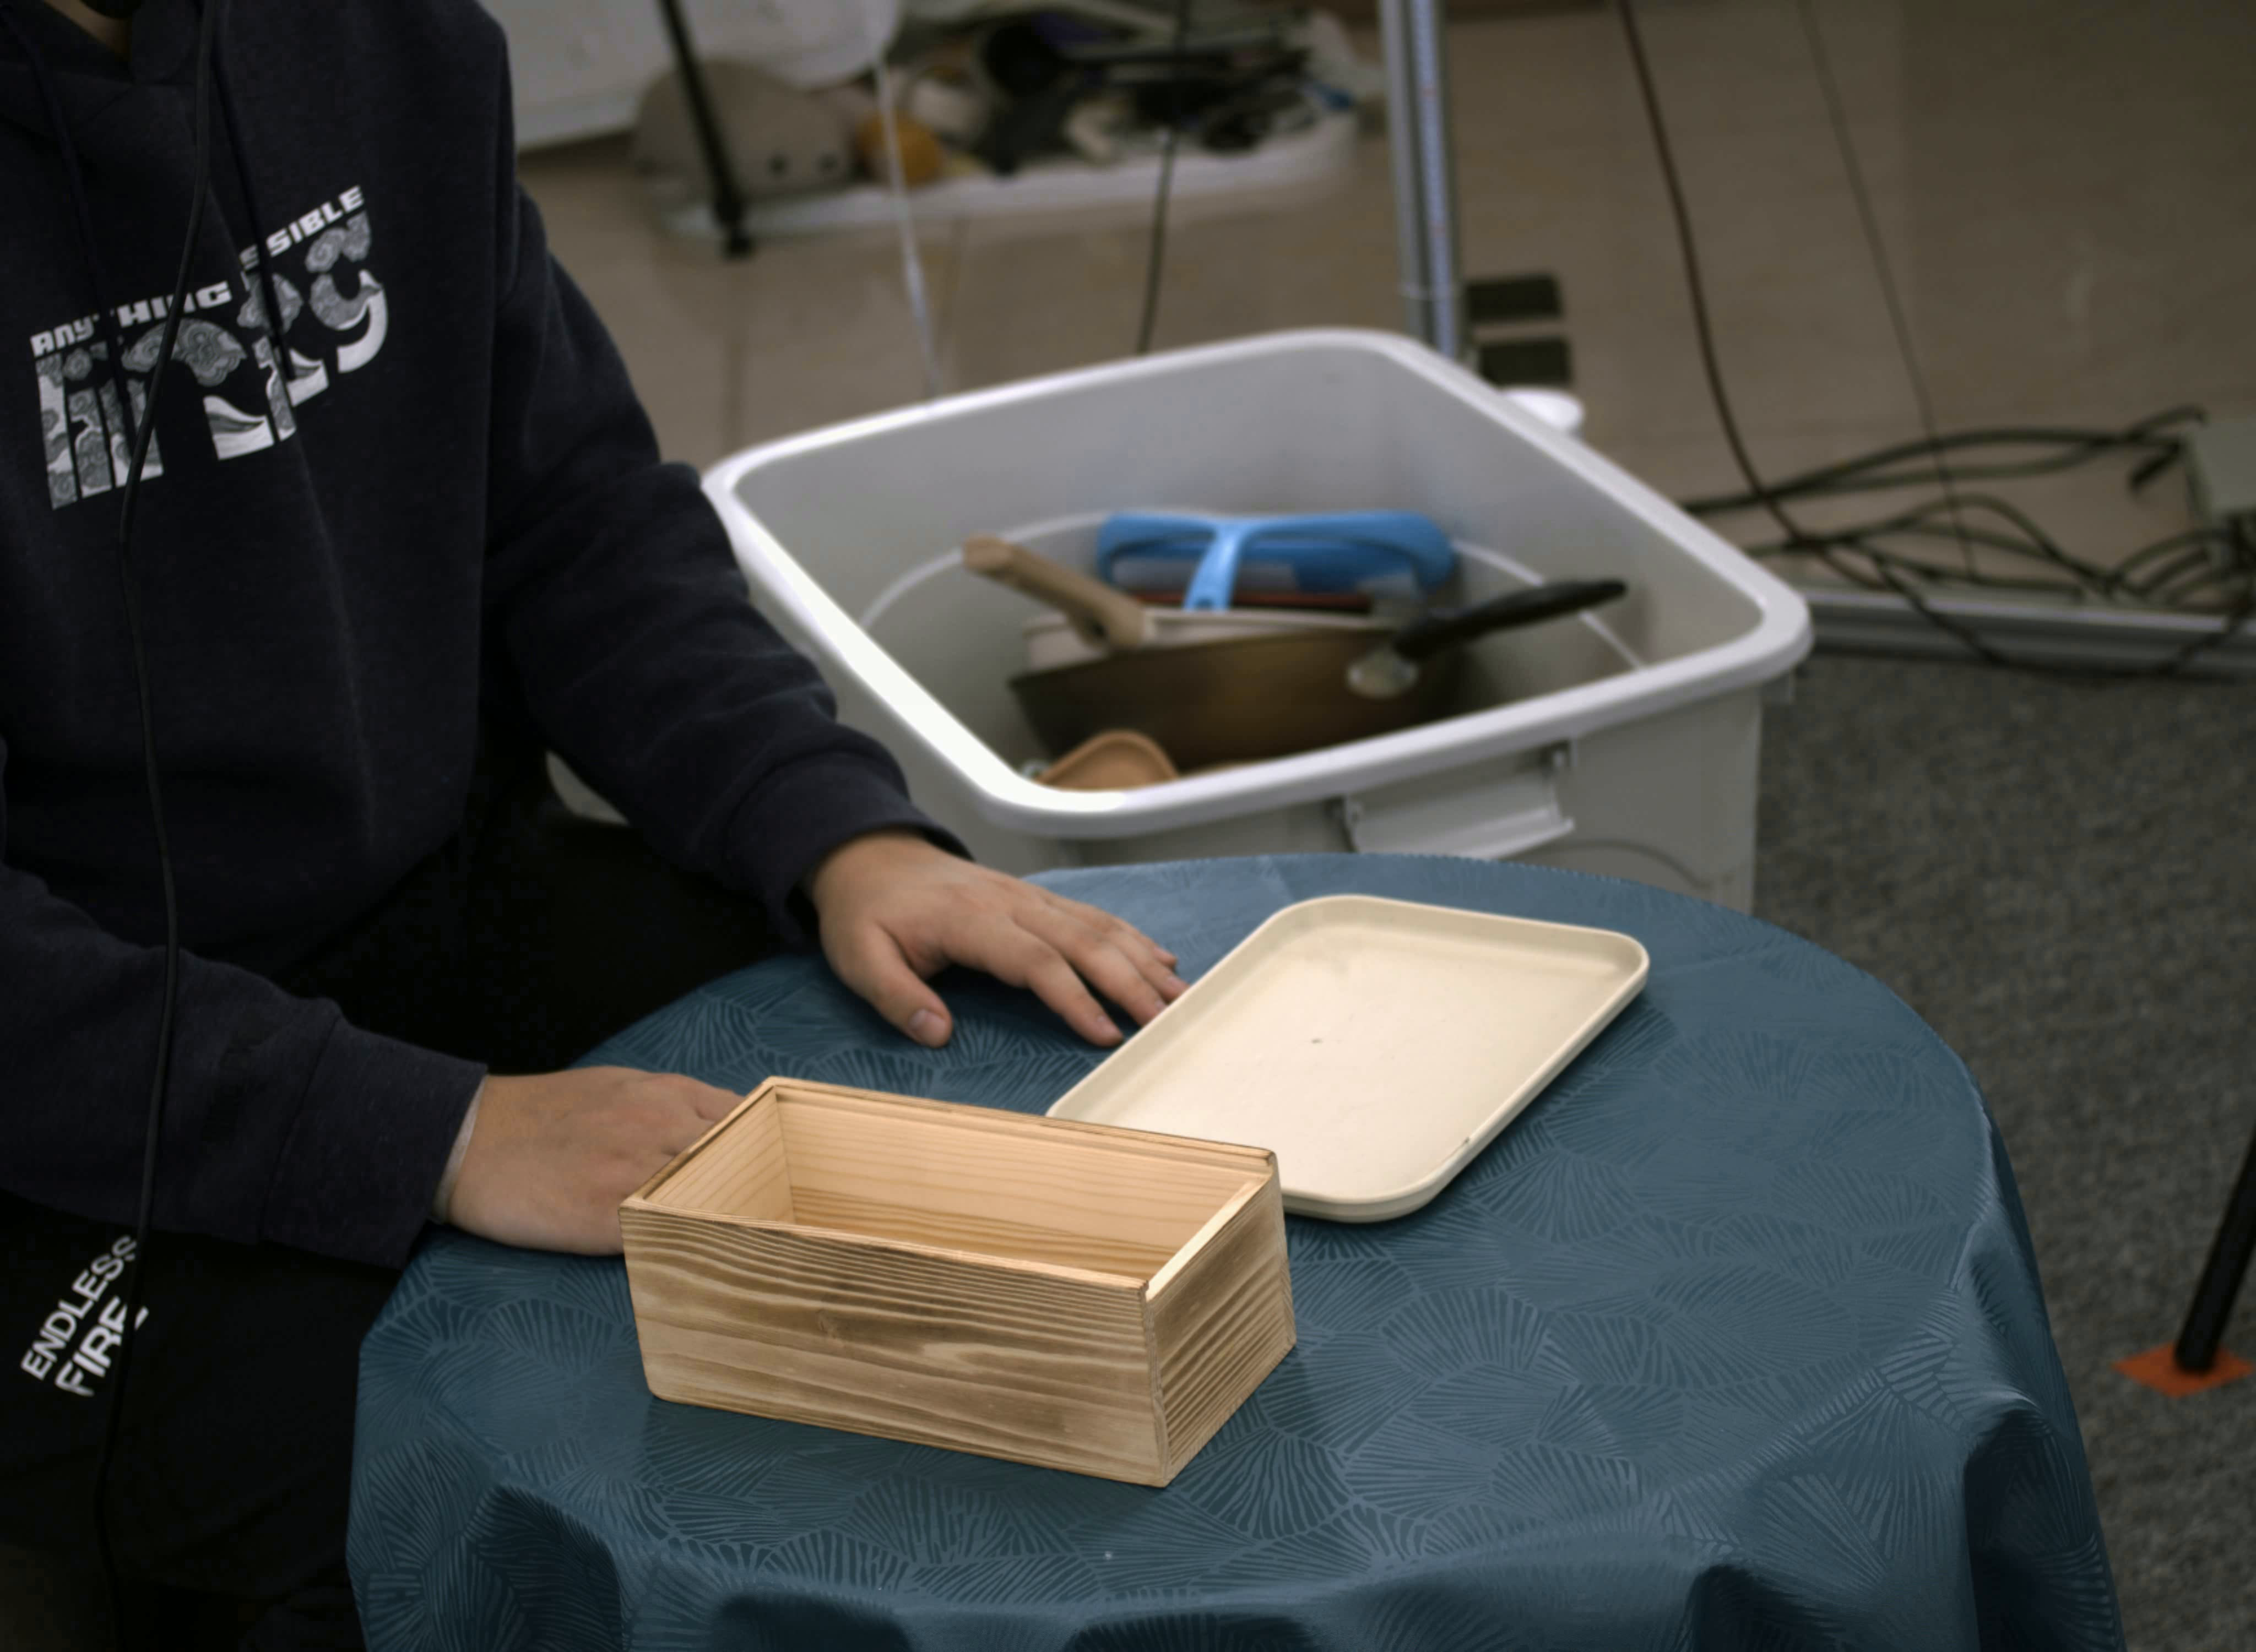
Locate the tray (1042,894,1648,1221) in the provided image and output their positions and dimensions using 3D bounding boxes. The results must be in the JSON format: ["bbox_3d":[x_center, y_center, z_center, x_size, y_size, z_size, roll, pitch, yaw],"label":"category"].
[{"bbox_3d":[0.087,0.089,2.214,0.170,0.018,0.237,8,28,30],"label":"tray"}]

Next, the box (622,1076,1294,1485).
[{"bbox_3d":[-0.060,0.159,2.022,0.210,0.081,0.106,7,28,27],"label":"box"}]
